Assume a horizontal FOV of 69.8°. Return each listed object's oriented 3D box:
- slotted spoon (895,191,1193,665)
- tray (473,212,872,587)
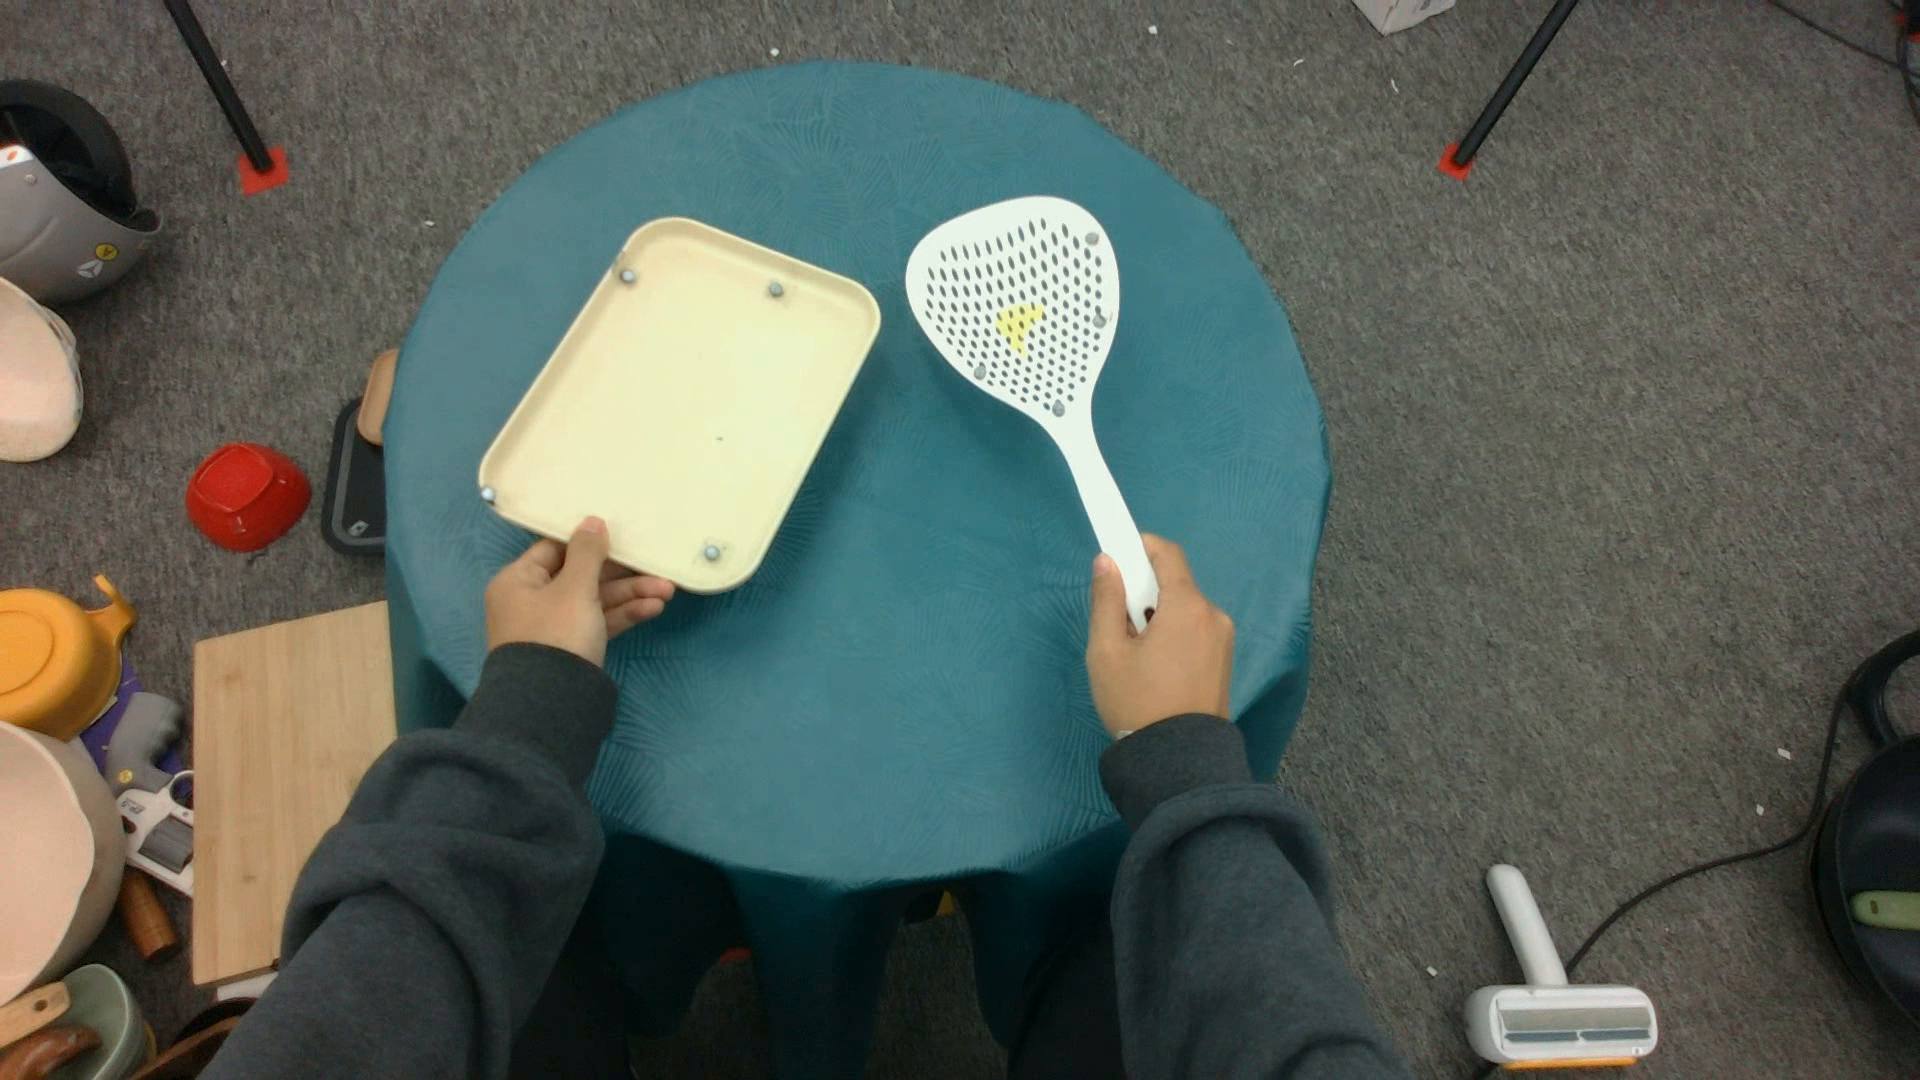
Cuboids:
[{"bbox_3d":[0.062,-0.078,0.838,0.137,0.050,0.349,-17,56,-6],"label":"slotted spoon"},{"bbox_3d":[-0.167,-0.090,0.829,0.171,0.017,0.241,21,61,4],"label":"tray"}]
